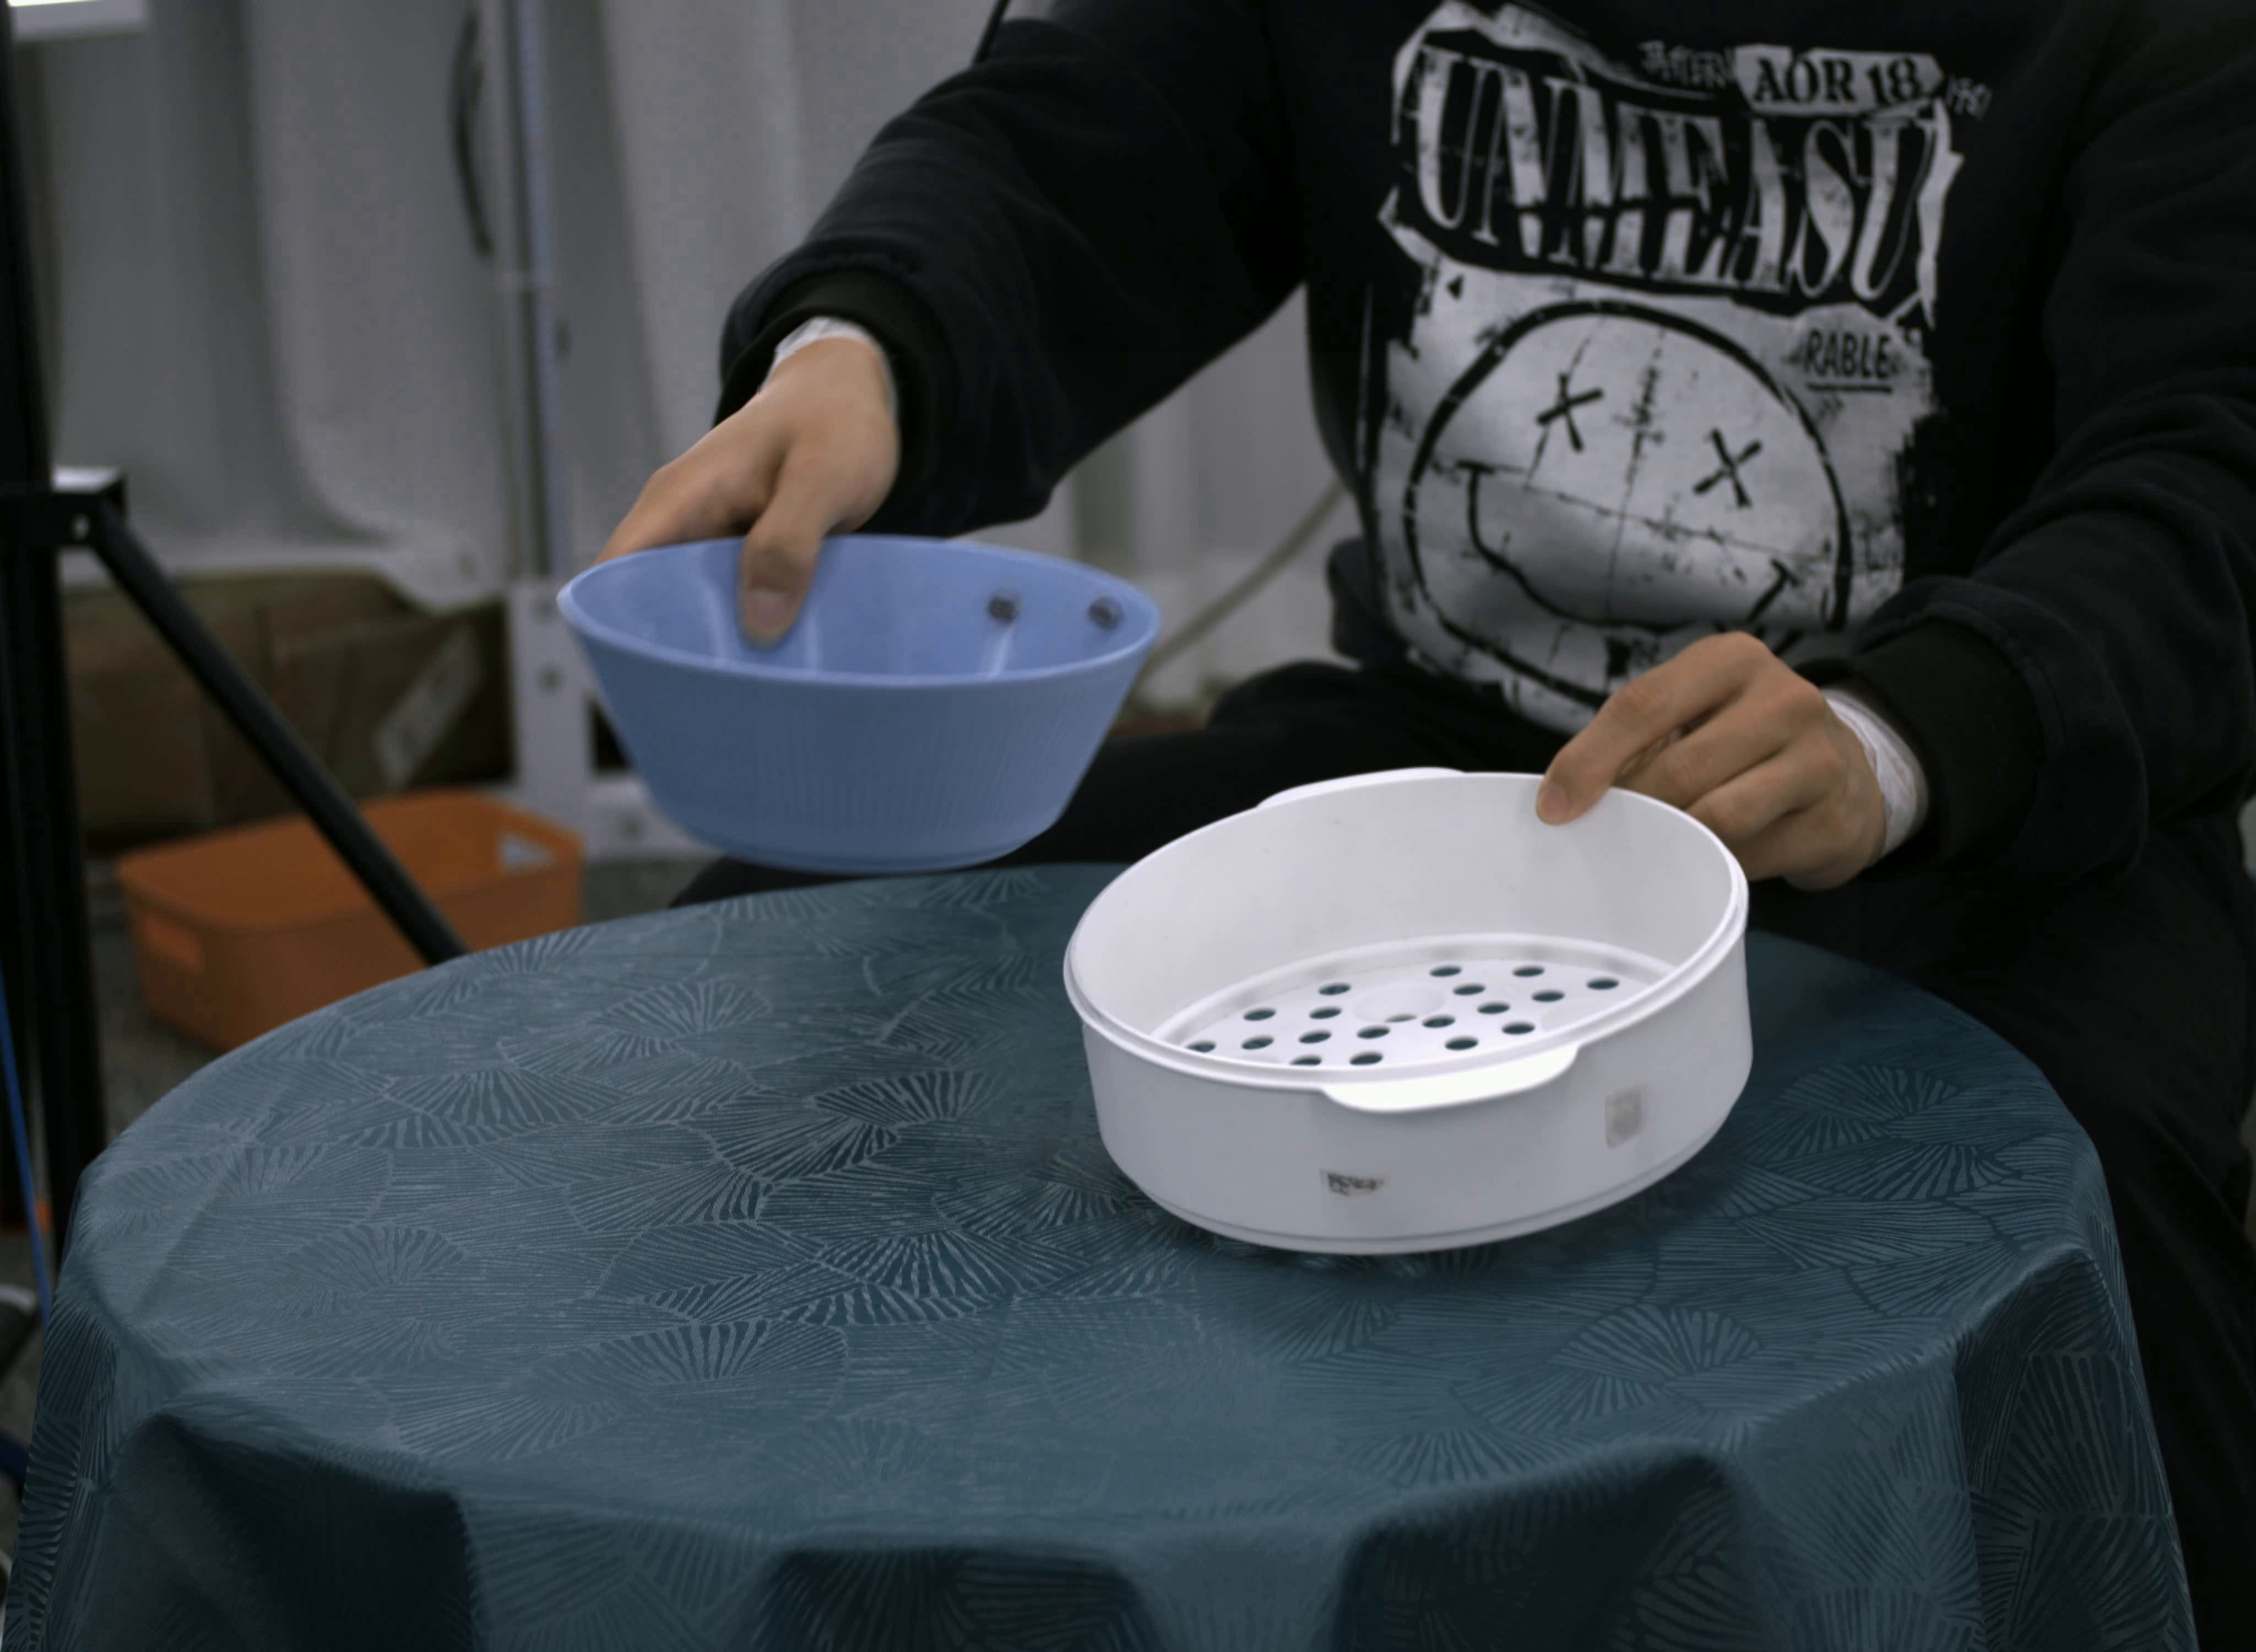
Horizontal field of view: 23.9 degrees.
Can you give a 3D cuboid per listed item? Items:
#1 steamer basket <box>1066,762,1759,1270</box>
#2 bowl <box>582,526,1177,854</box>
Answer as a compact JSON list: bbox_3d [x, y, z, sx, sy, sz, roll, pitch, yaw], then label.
[{"bbox_3d":[0.085,0.056,1.544,0.201,0.069,0.233,-10,25,-1],"label":"steamer basket"},{"bbox_3d":[-0.075,-0.039,1.574,0.175,0.070,0.177,3,15,-2],"label":"bowl"}]
